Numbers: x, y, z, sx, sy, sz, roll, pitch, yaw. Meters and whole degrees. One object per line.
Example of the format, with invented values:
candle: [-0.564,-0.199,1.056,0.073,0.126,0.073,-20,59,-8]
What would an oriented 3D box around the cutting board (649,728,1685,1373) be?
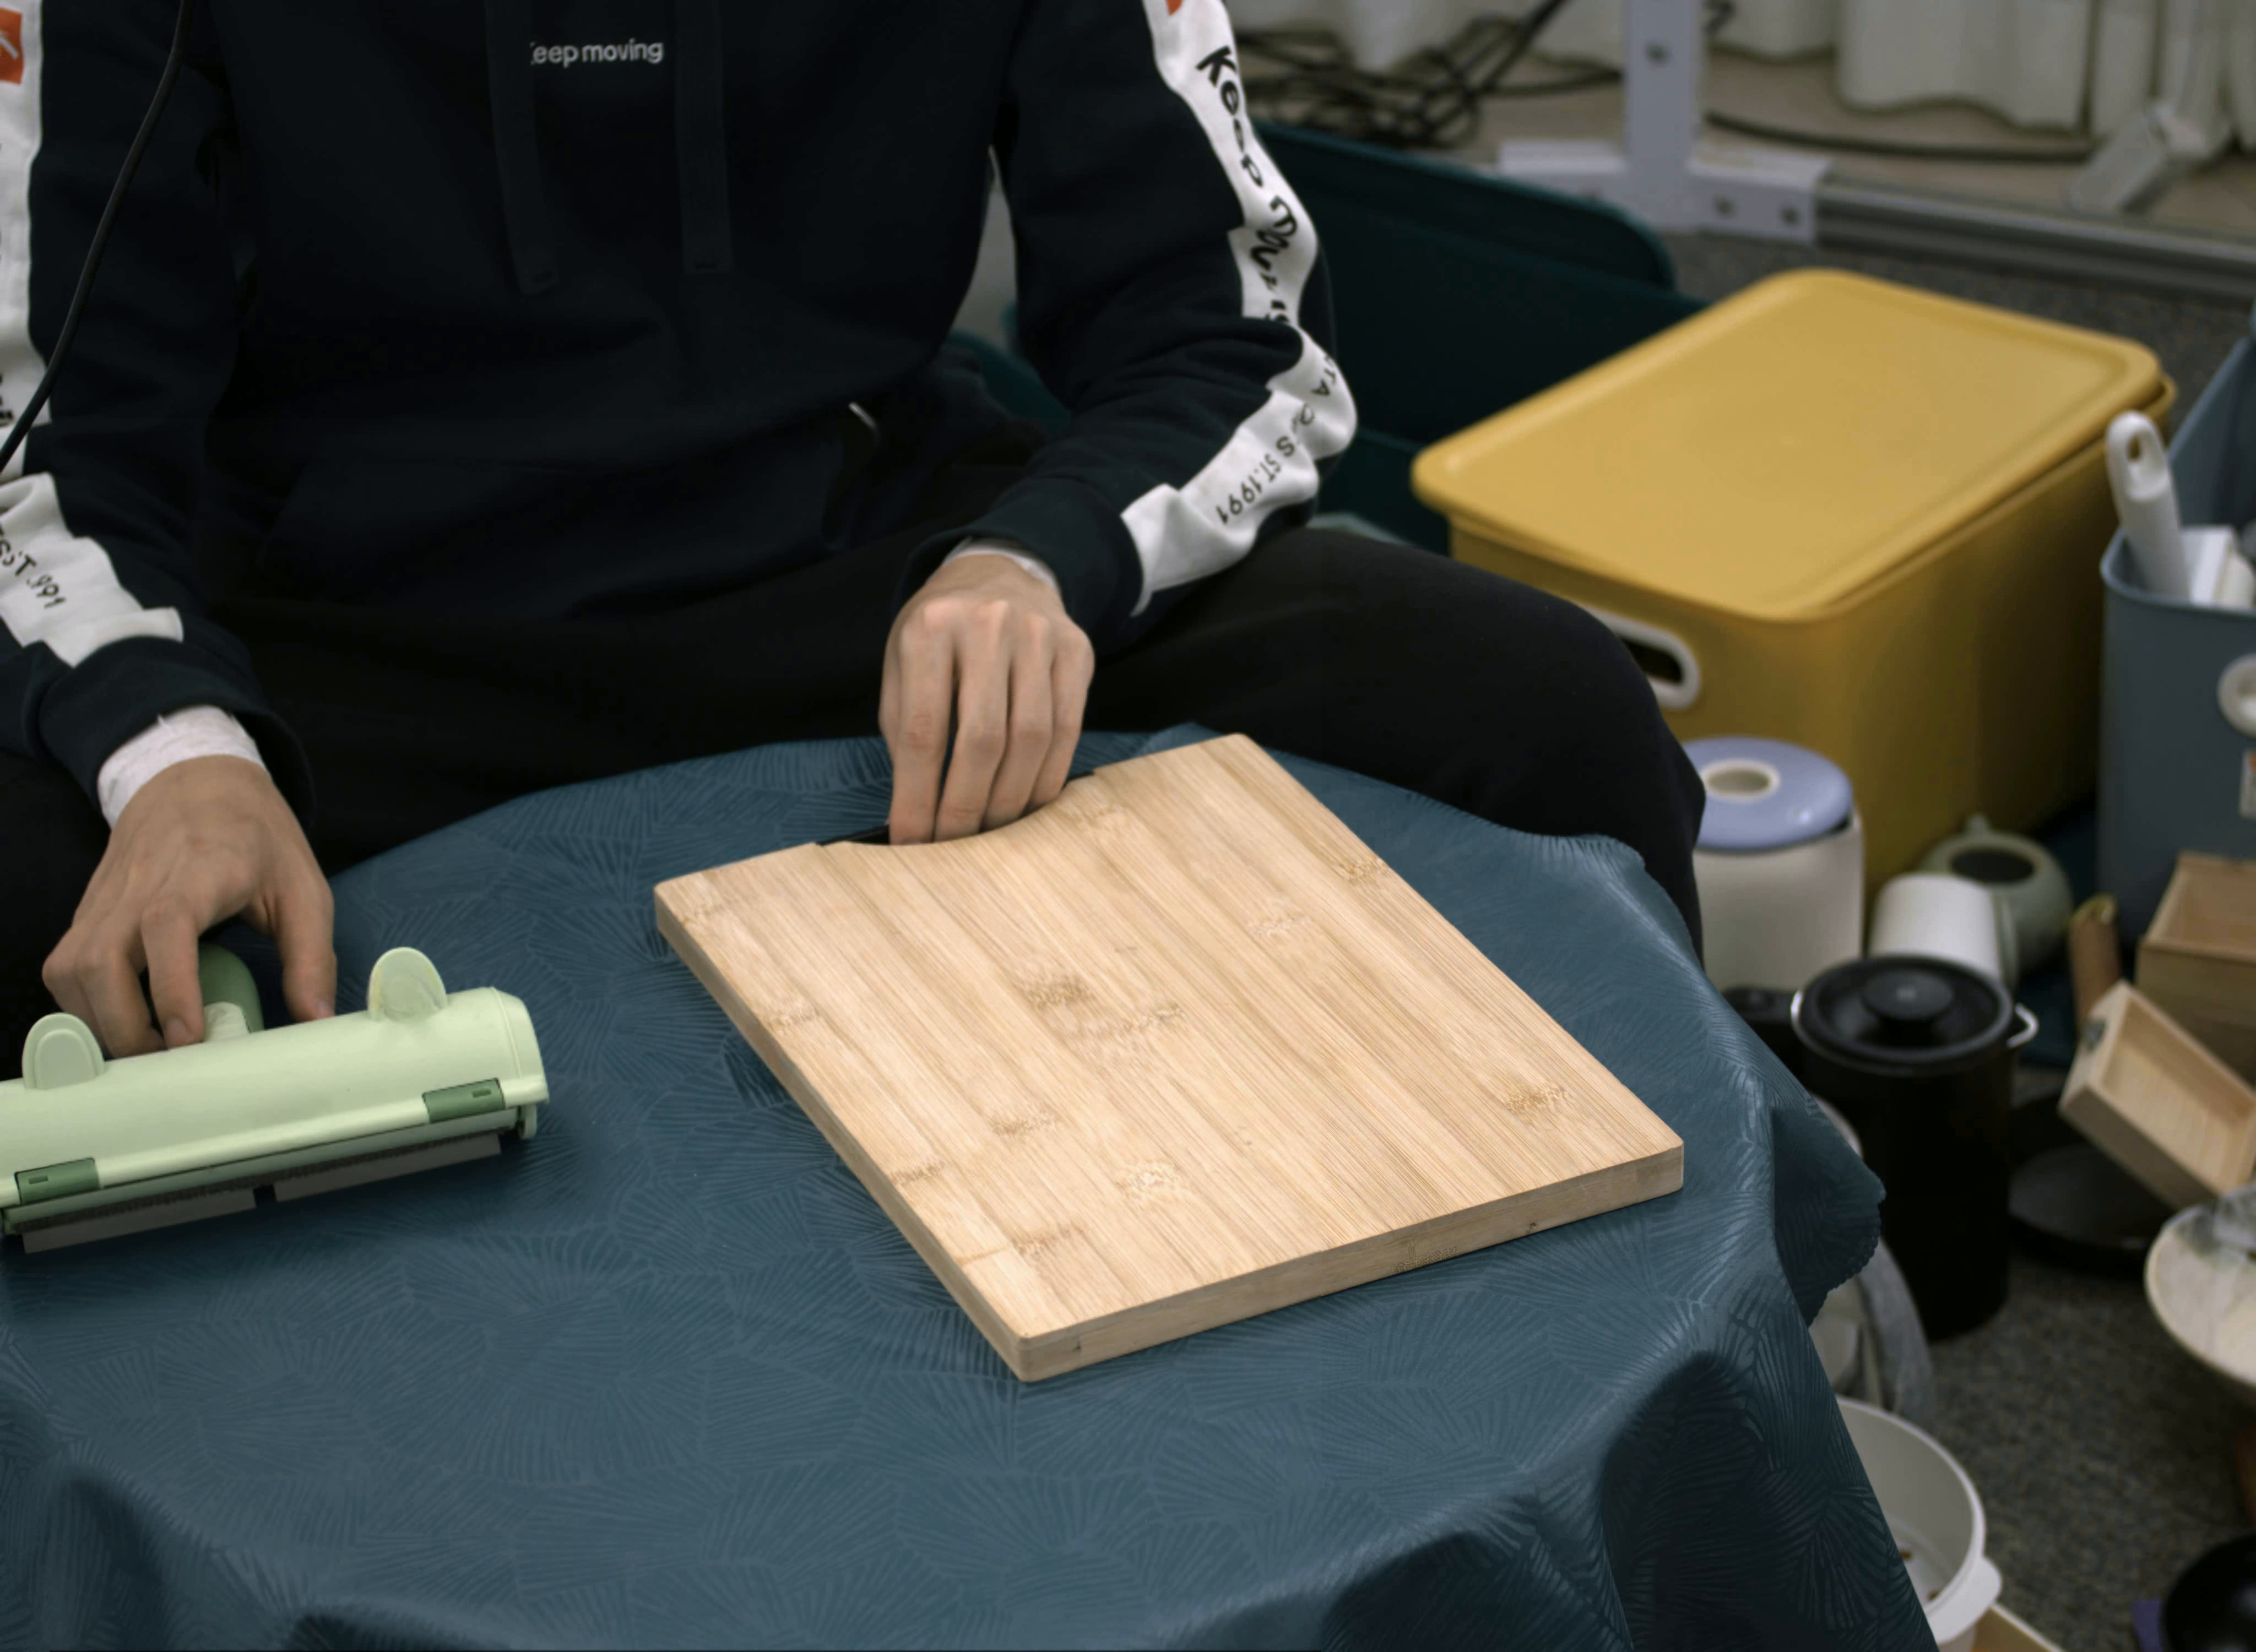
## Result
cutting board: [0.004,0.070,1.942,0.252,0.023,0.351,-14,30,-21]

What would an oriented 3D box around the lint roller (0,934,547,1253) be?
lint roller: [-0.311,0.065,1.918,0.199,0.081,0.185,-11,32,-15]
